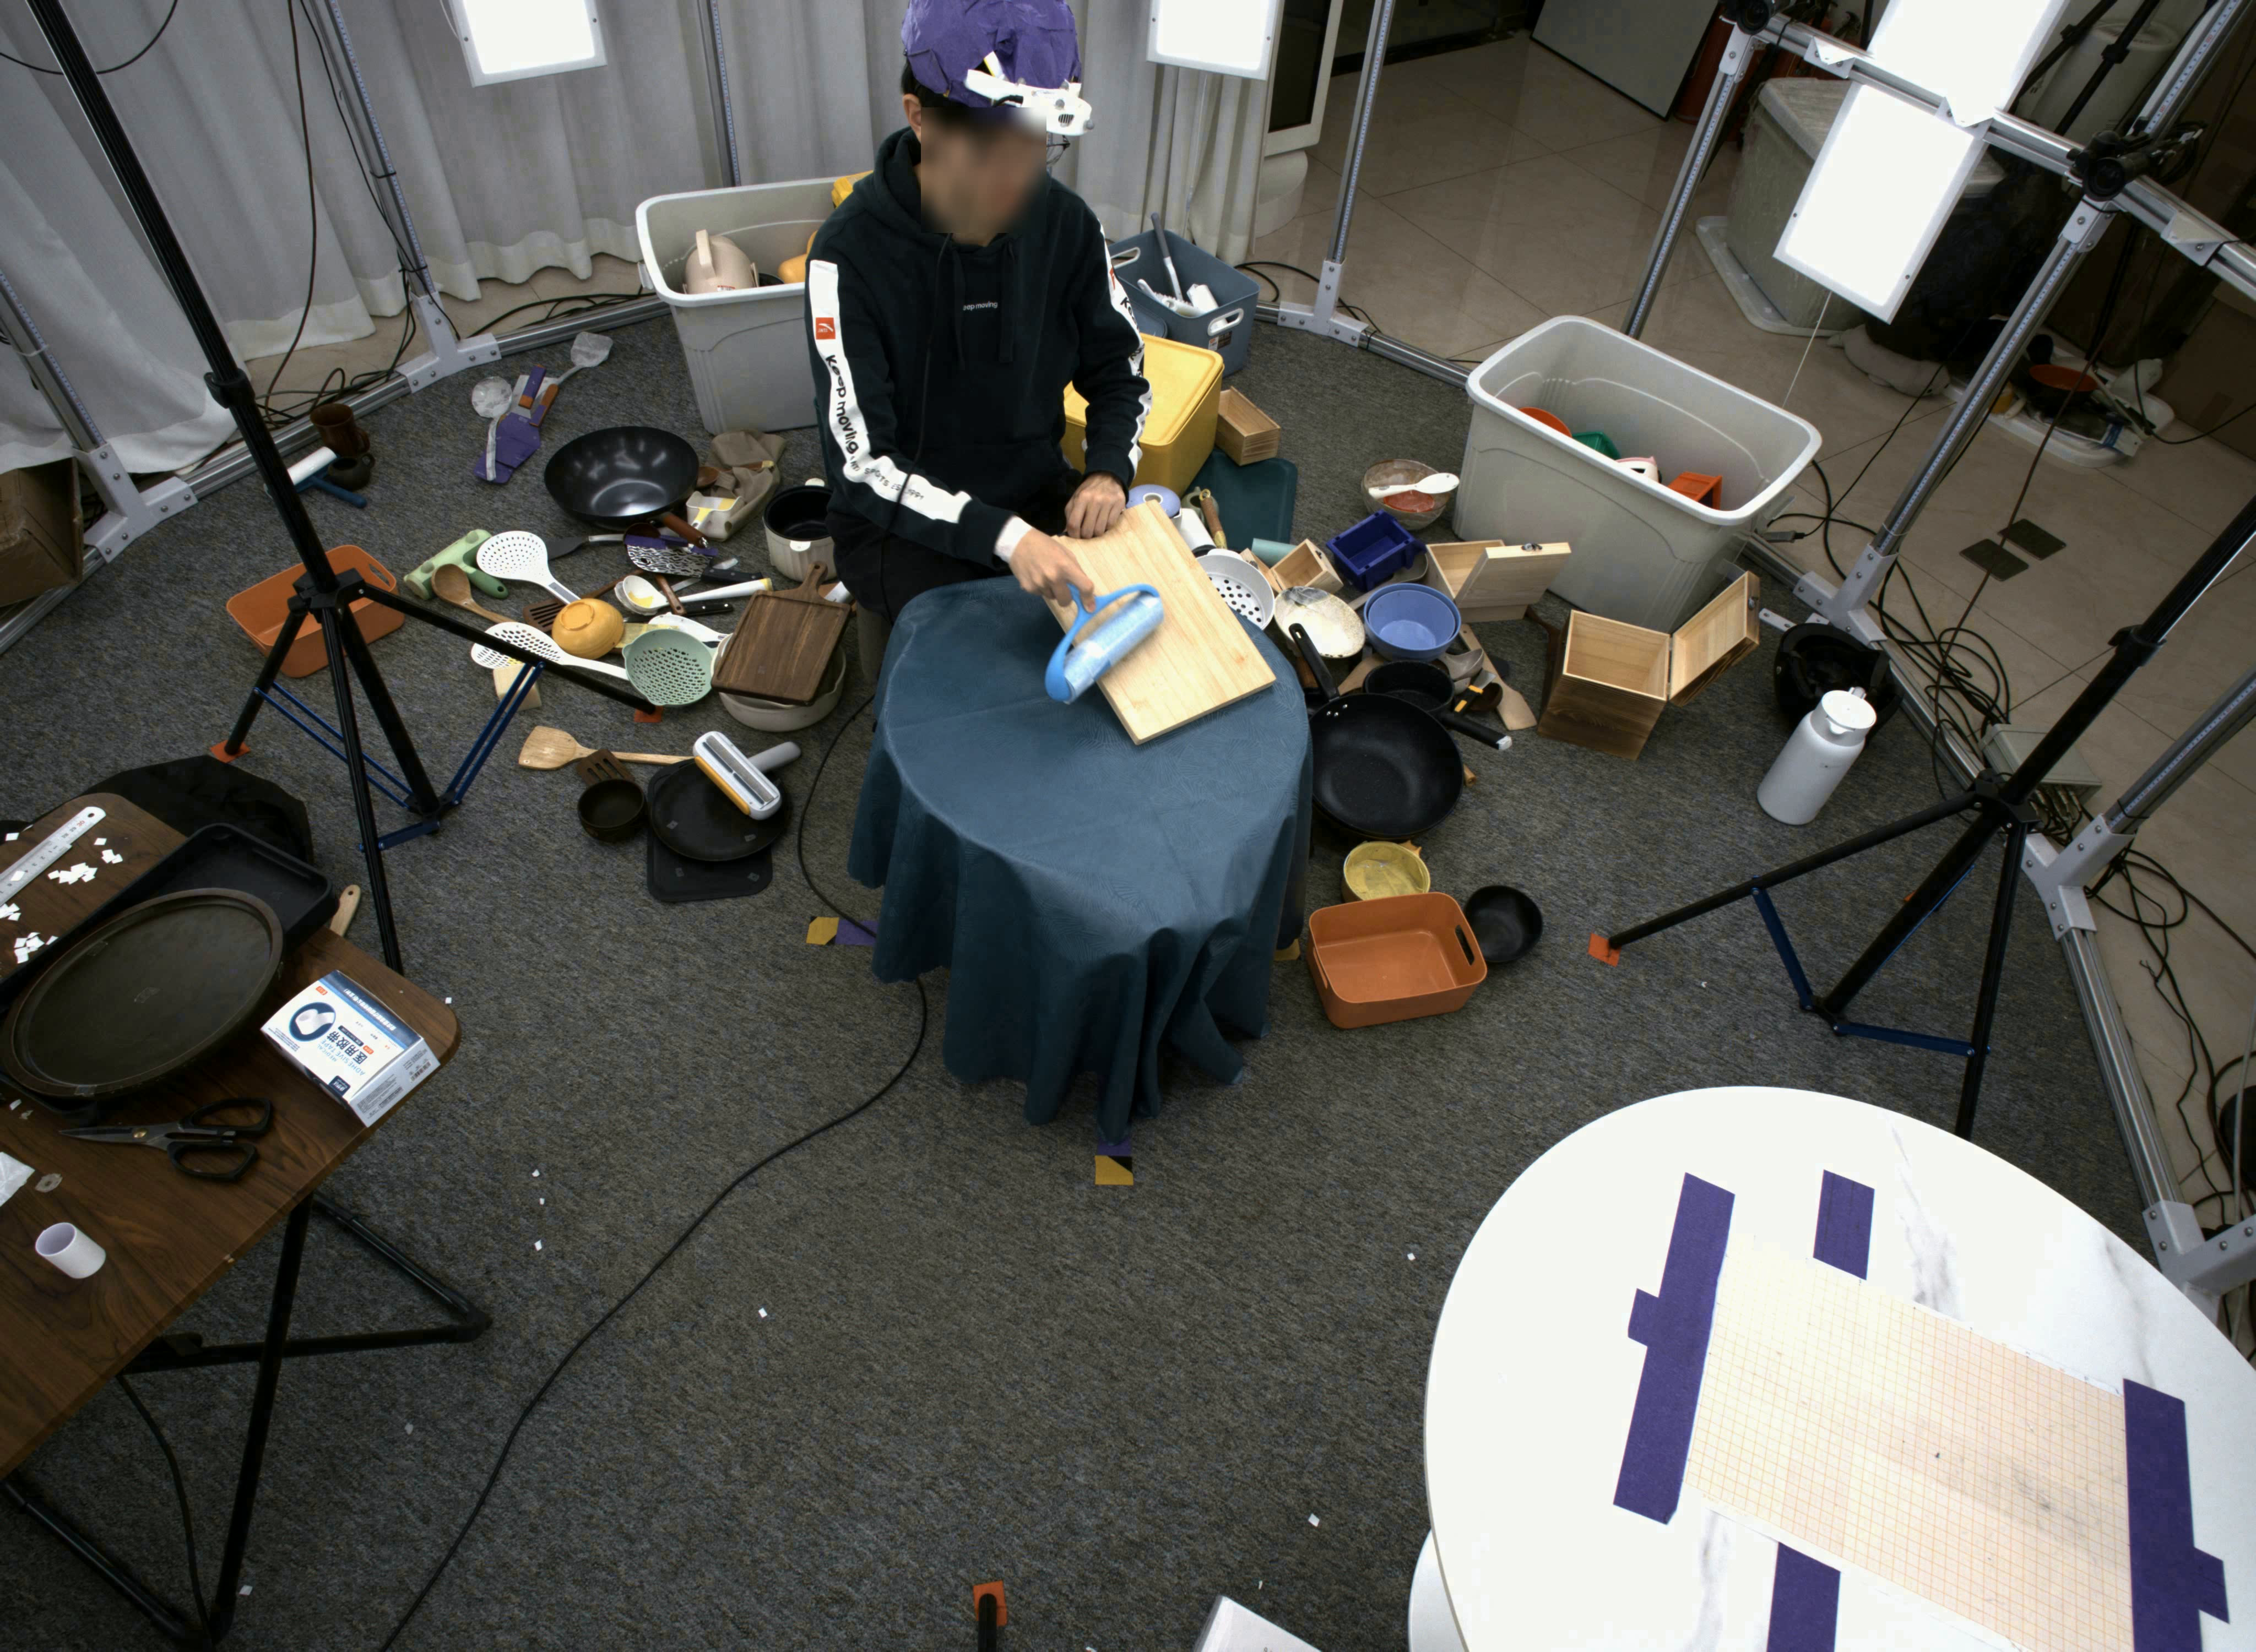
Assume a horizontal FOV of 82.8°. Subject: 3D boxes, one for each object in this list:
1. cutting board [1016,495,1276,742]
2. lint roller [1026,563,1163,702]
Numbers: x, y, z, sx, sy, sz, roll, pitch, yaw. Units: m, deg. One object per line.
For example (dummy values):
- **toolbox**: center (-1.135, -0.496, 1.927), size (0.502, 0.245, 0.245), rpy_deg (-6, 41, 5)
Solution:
- **cutting board**: center (0.025, -0.305, 1.857), size (0.252, 0.023, 0.353), rpy_deg (-25, 72, -23)
- **lint roller**: center (-0.068, -0.294, 1.764), size (0.179, 0.067, 0.231), rpy_deg (48, 64, -11)
